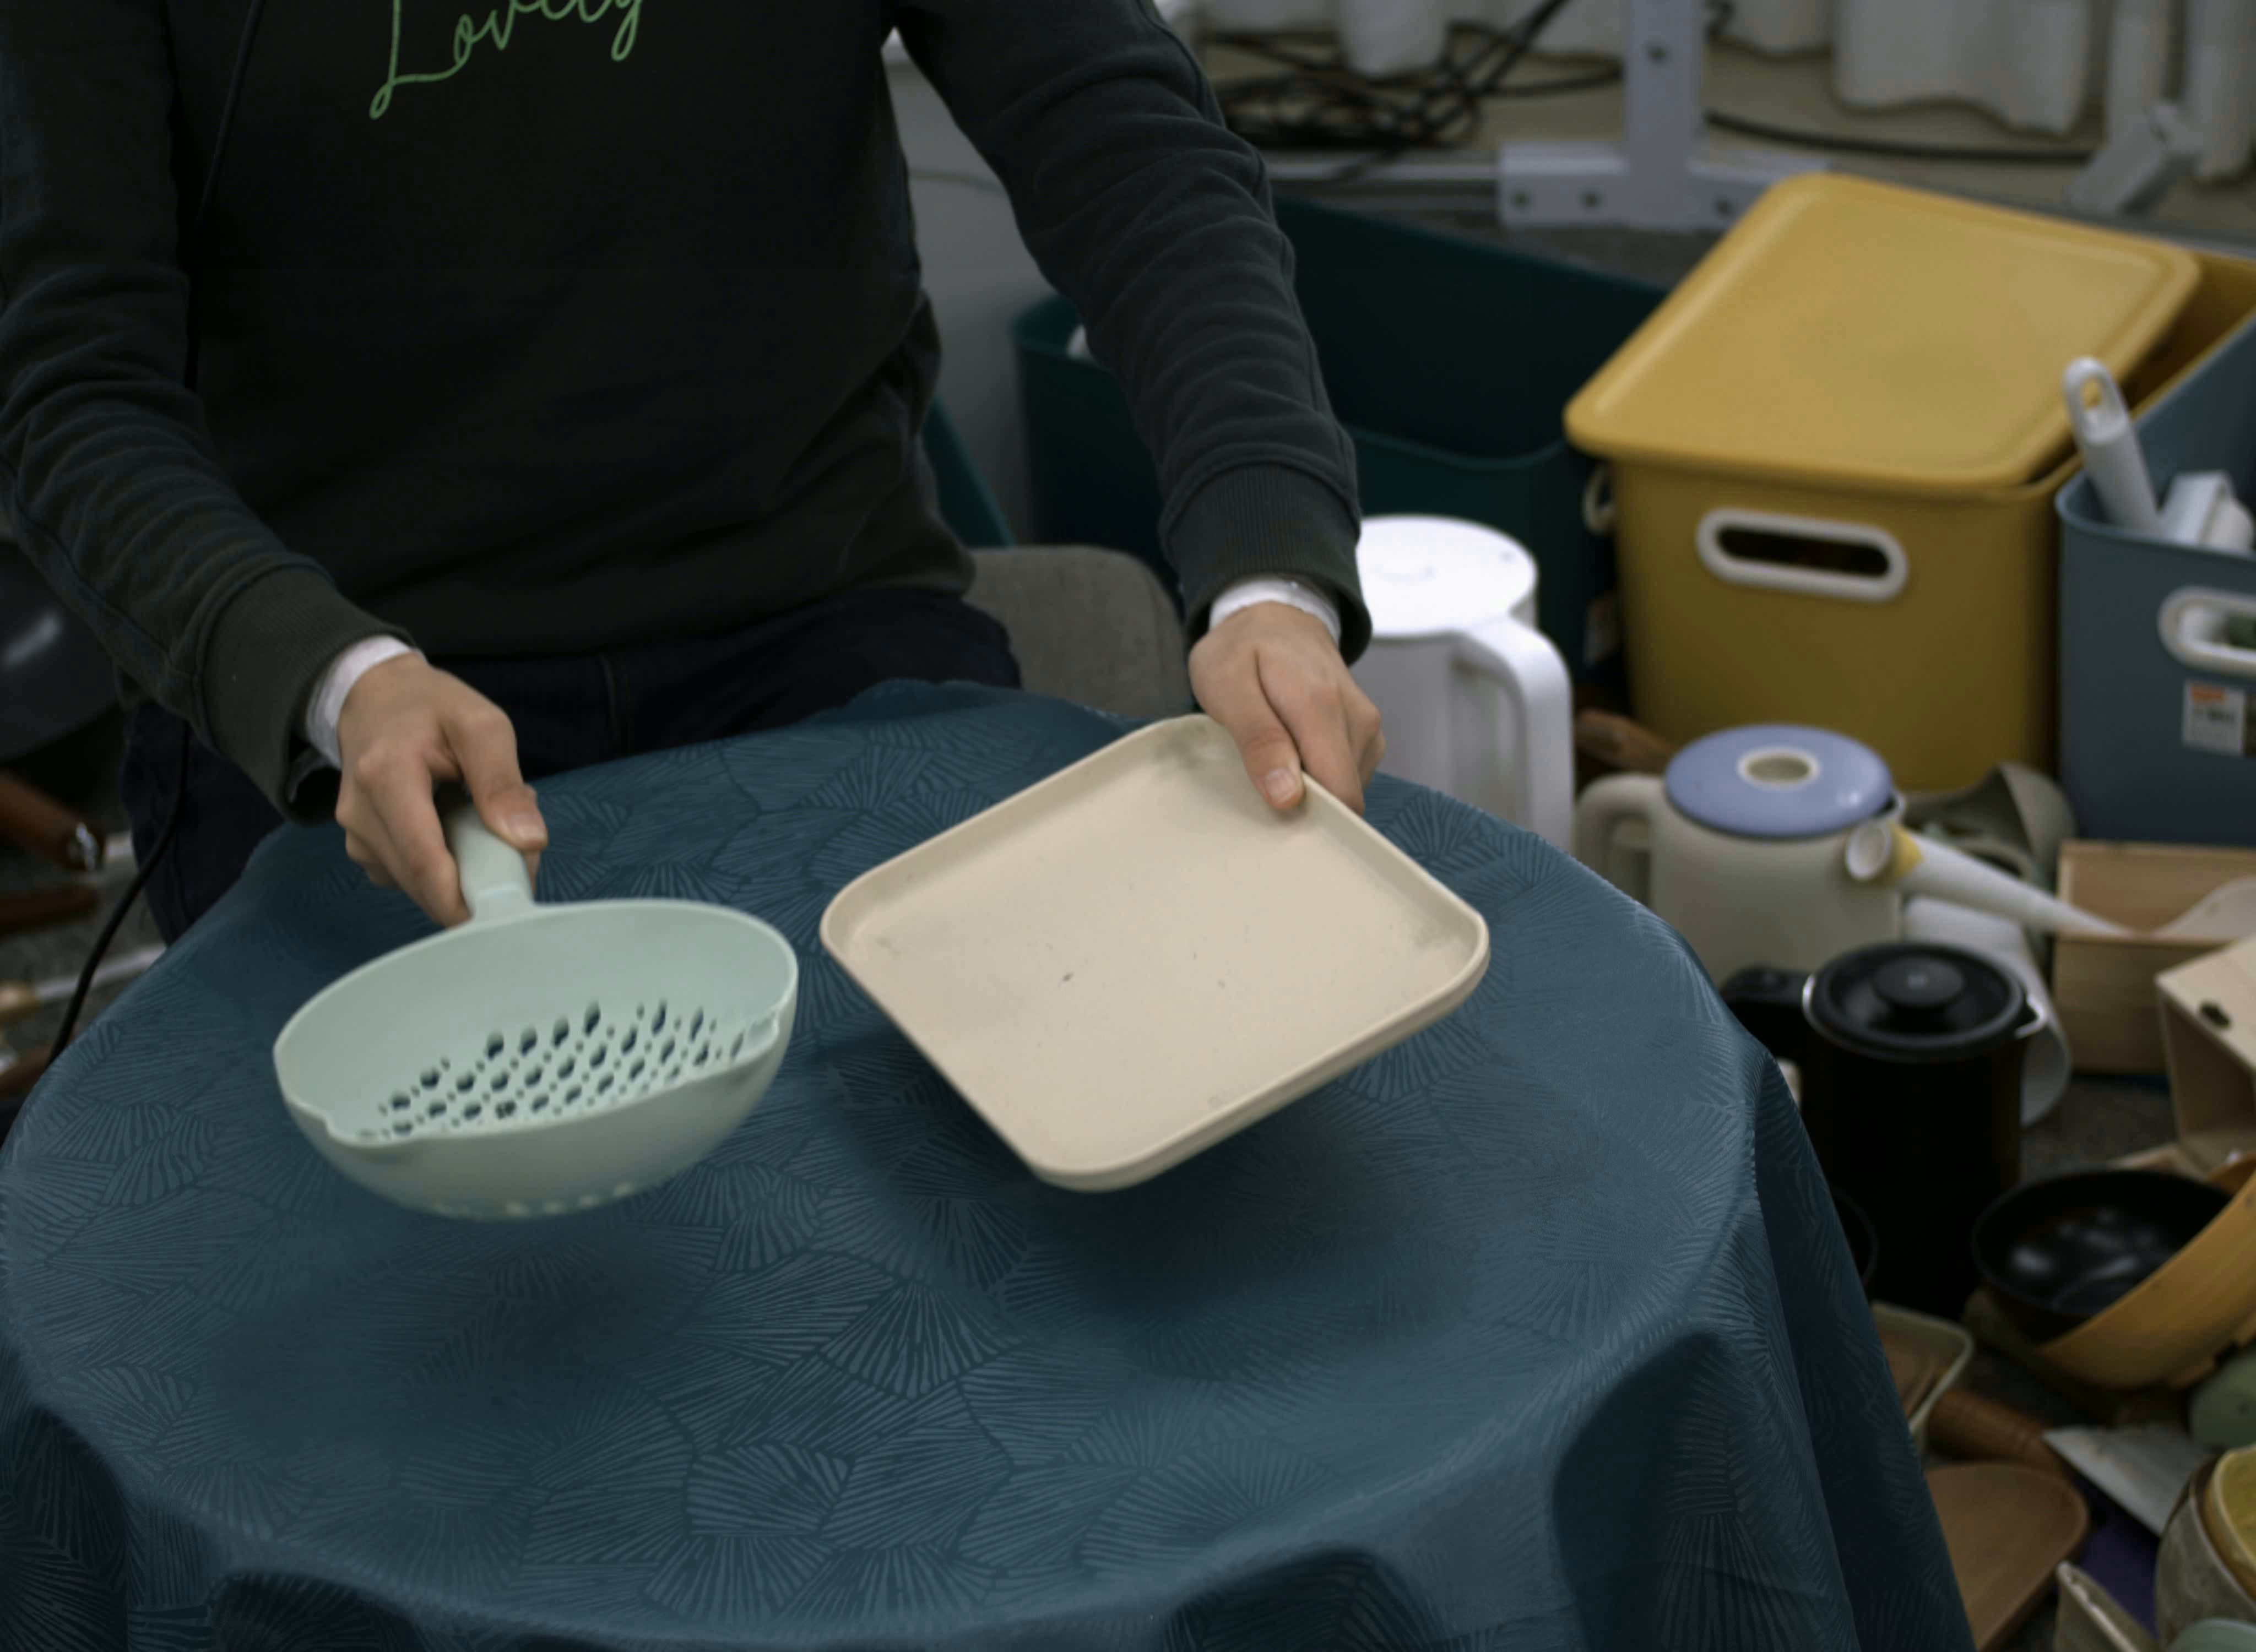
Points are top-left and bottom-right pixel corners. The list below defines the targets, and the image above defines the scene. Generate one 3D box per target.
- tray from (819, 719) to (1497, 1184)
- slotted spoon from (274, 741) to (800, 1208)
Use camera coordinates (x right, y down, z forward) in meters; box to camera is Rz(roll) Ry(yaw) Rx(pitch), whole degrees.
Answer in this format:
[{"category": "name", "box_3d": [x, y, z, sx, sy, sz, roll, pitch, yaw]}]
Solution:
[{"category": "tray", "box_3d": [0.008, 0.040, 1.870, 0.172, 0.017, 0.241, -28, 29, -15]}, {"category": "slotted spoon", "box_3d": [-0.204, 0.033, 1.865, 0.169, 0.074, 0.363, -12, 29, -8]}]
